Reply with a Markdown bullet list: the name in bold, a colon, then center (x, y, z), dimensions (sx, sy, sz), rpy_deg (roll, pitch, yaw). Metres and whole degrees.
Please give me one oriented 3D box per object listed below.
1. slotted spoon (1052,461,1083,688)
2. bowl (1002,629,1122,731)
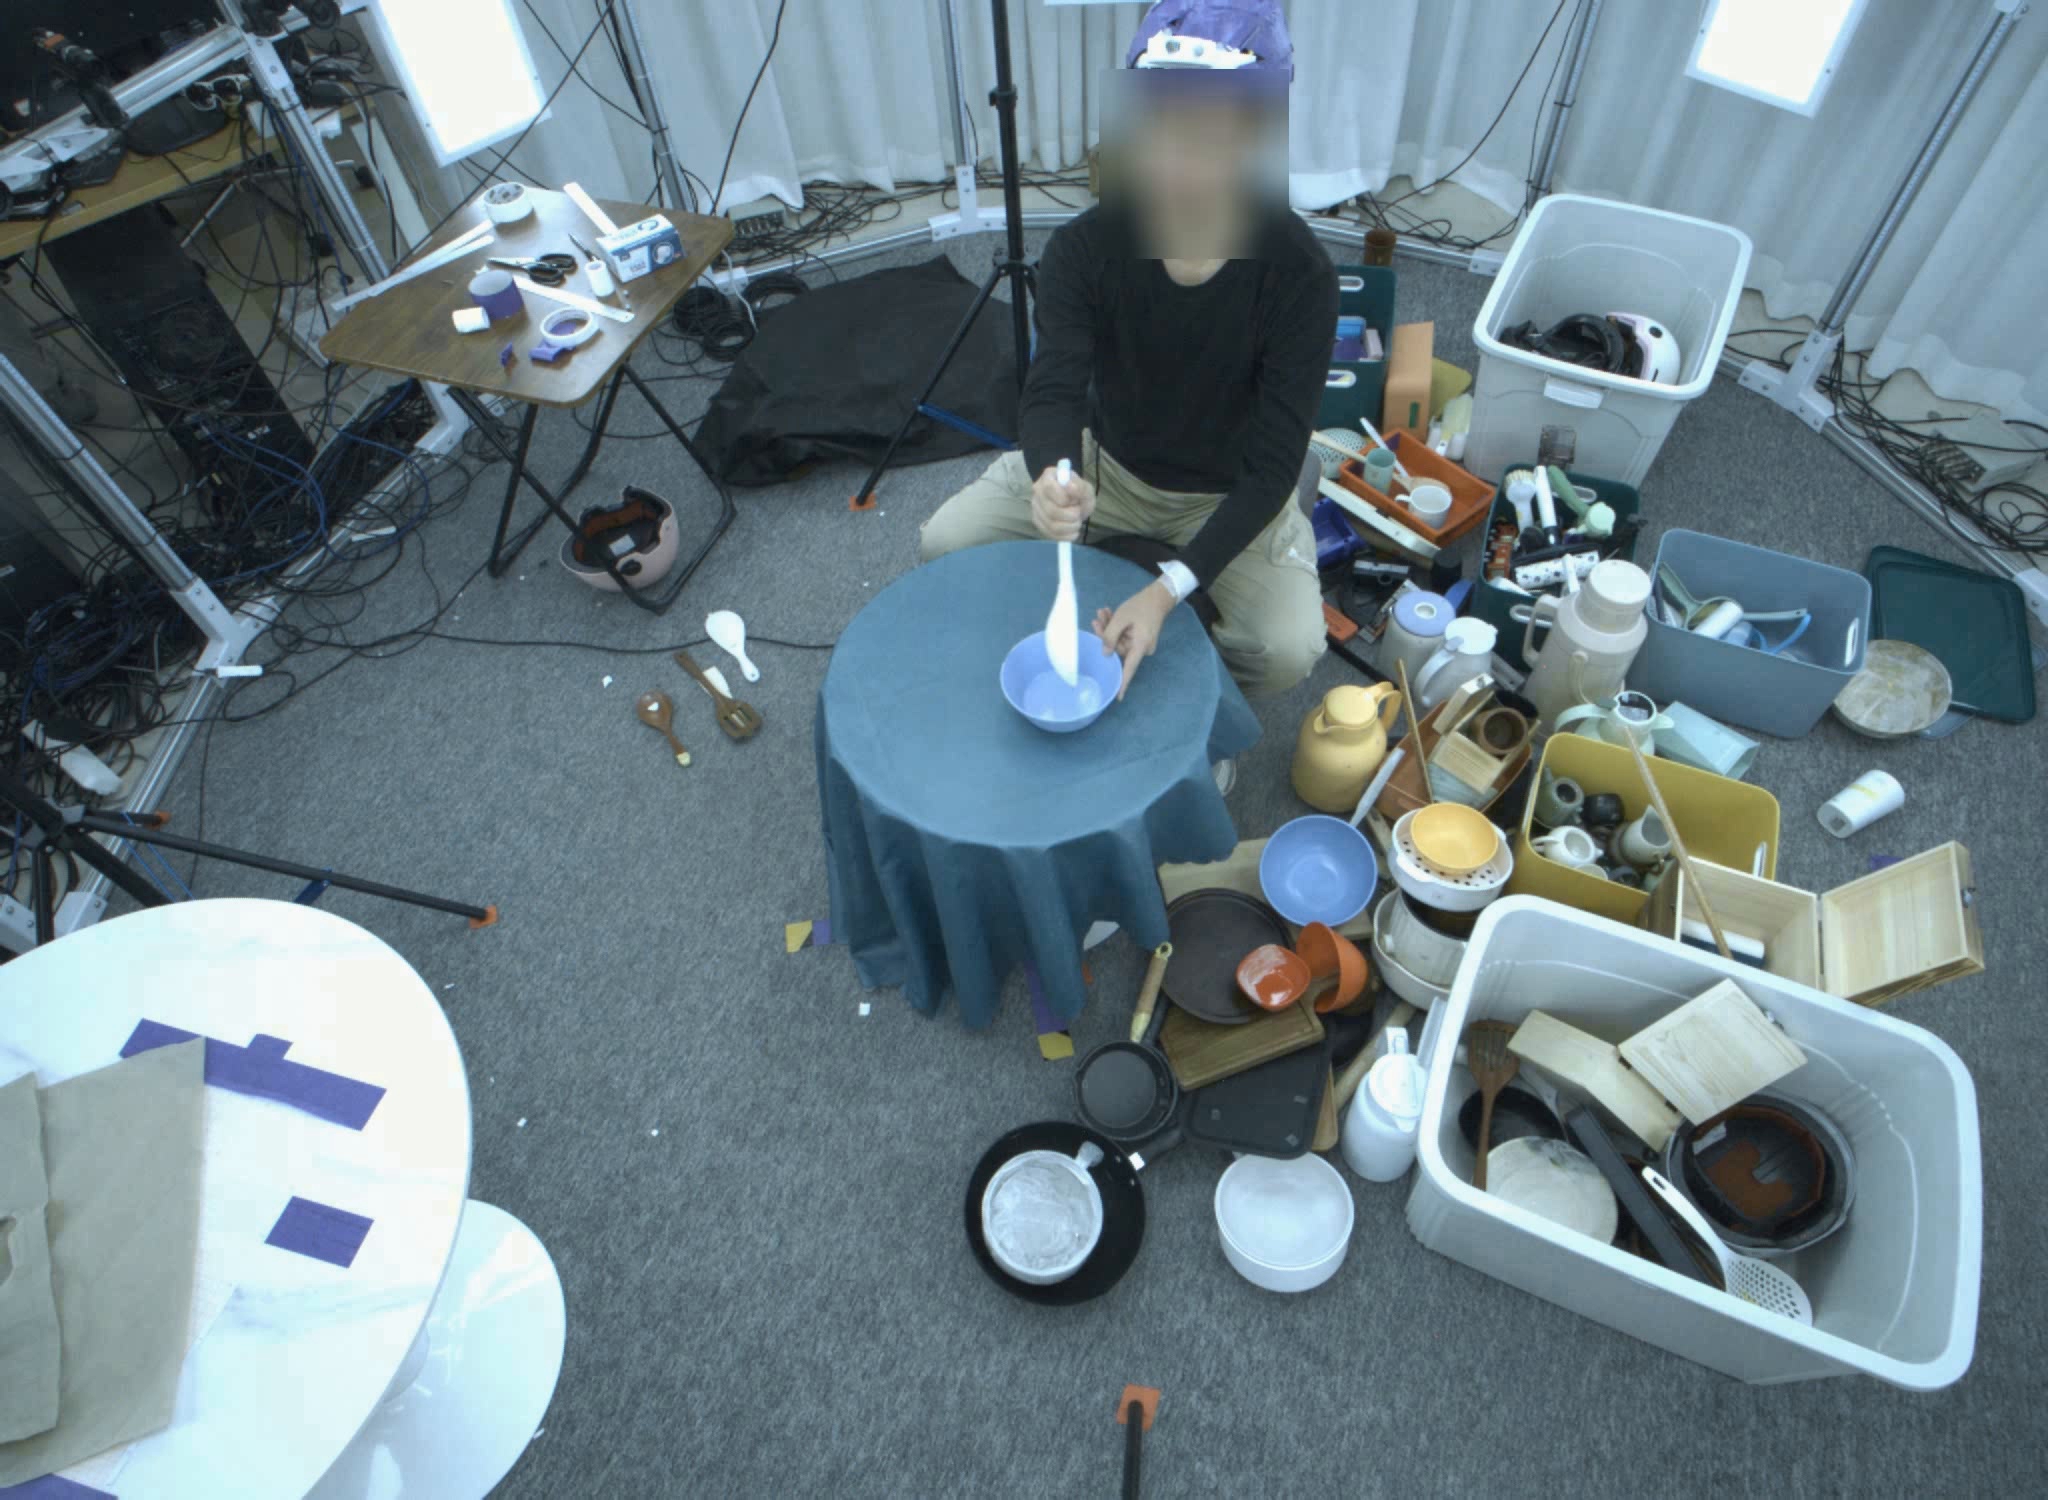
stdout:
- **slotted spoon**: center (0.062, -0.227, 1.617), dimensions (0.046, 0.353, 0.134), rpy_deg (1, 48, 1)
- **bowl**: center (0.057, -0.093, 1.808), dimensions (0.176, 0.071, 0.174), rpy_deg (0, 54, 2)
